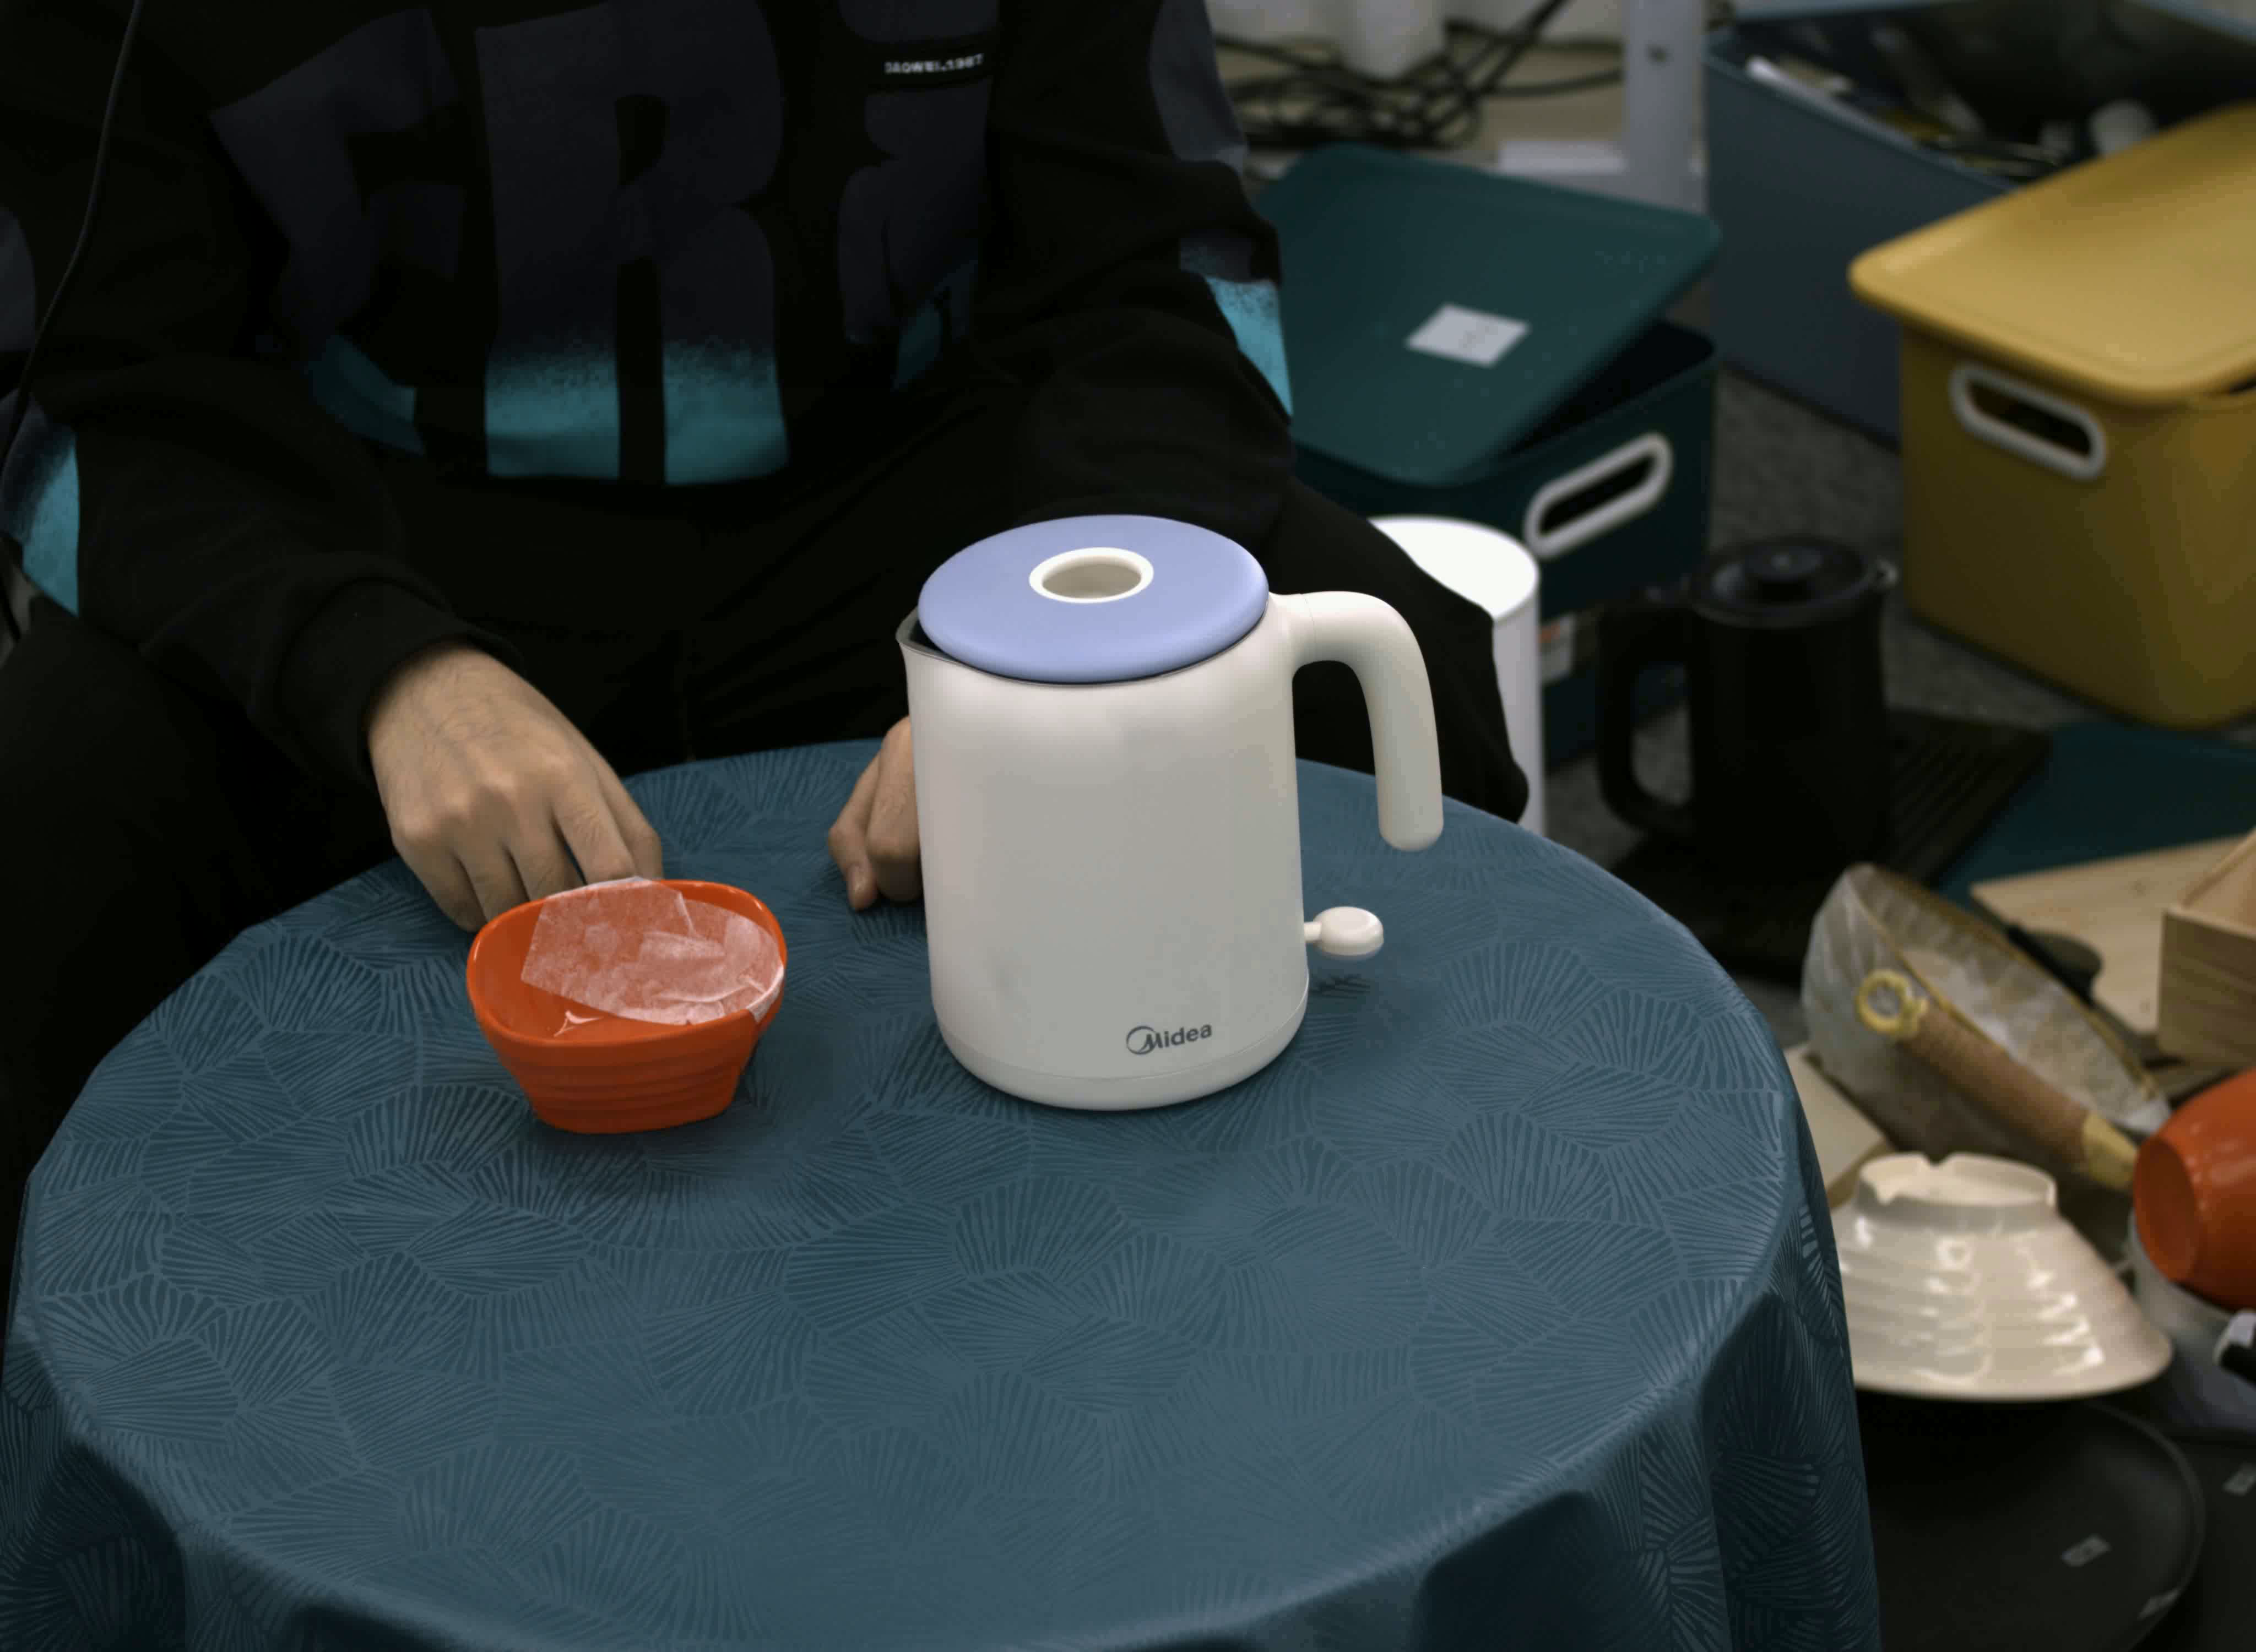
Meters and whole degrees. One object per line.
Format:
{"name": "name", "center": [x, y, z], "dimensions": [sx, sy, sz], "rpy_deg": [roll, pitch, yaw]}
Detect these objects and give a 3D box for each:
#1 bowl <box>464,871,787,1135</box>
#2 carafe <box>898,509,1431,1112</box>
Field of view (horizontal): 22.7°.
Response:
{"name": "bowl", "center": [-0.170, 0.066, 1.926], "dimensions": [0.118, 0.051, 0.121], "rpy_deg": [-3, 30, 2]}
{"name": "carafe", "center": [0.015, -0.009, 1.929], "dimensions": [0.191, 0.180, 0.133], "rpy_deg": [-9, 28, -16]}
